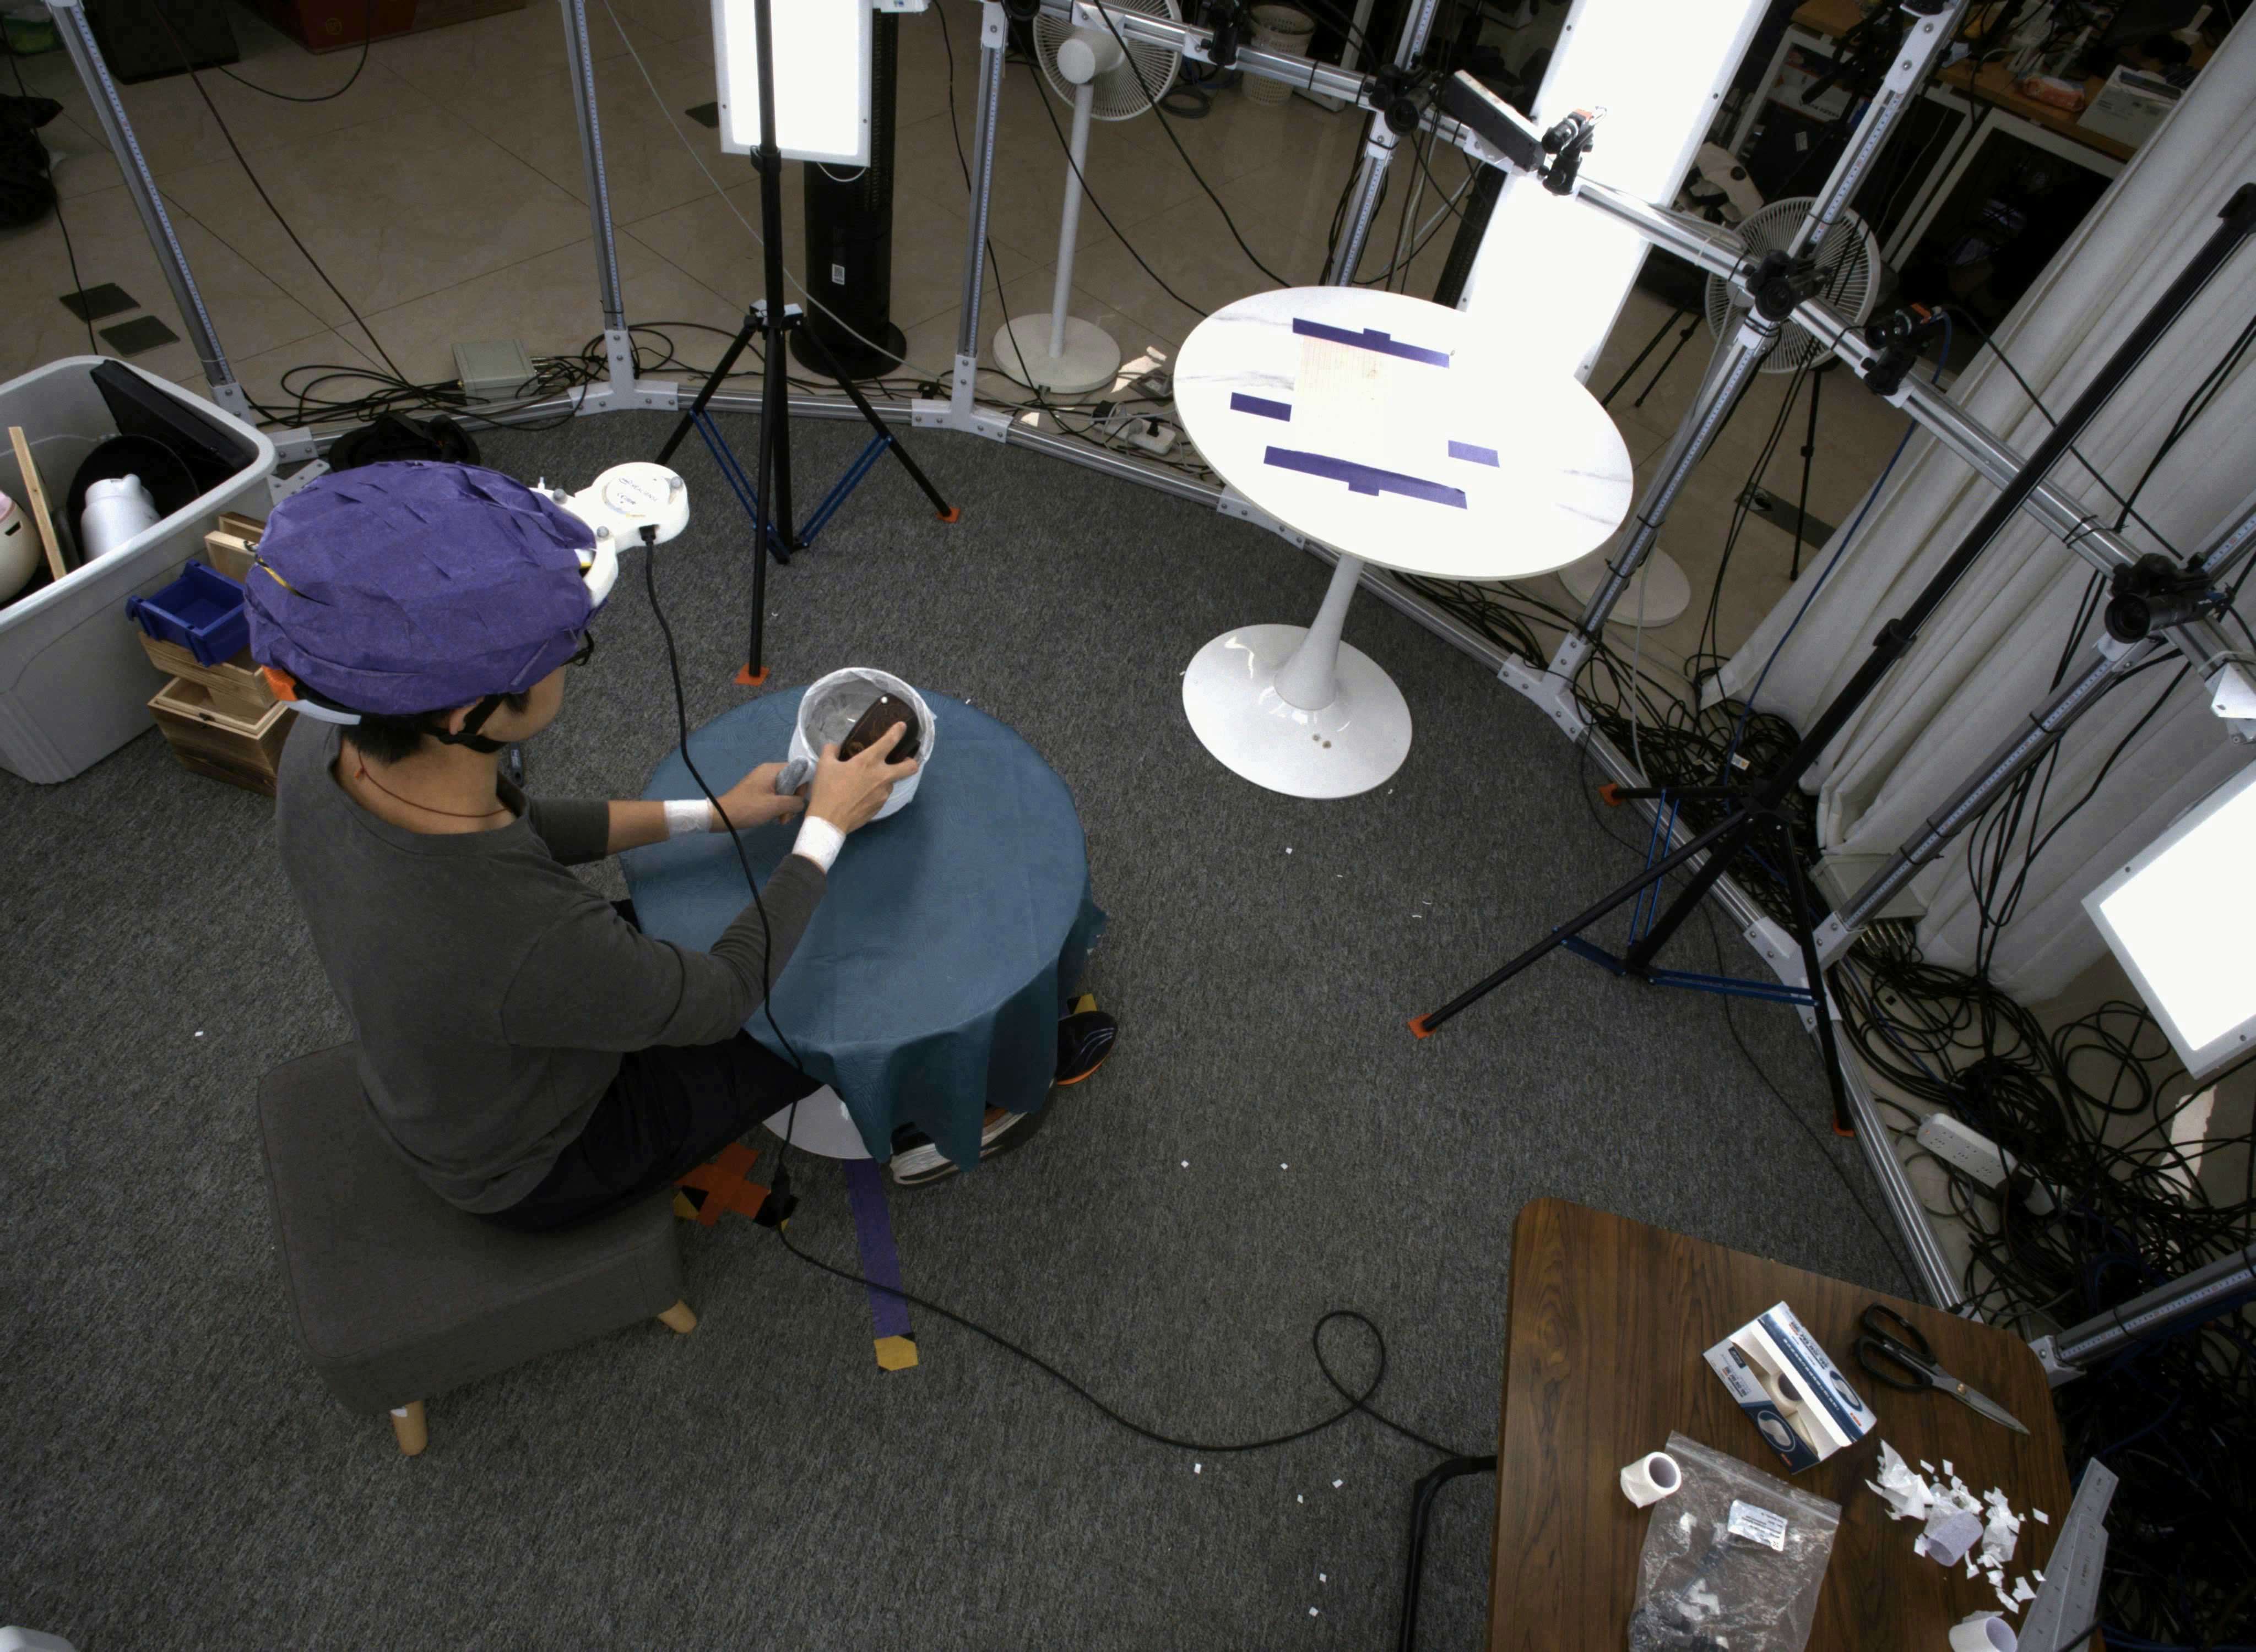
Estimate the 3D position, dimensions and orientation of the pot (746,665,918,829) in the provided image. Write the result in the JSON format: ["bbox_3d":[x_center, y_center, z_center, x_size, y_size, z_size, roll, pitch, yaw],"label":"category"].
[{"bbox_3d":[-0.395,-0.087,1.704,0.177,0.137,0.234,47,57,7],"label":"pot"}]

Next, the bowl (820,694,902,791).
[{"bbox_3d":[-0.328,-0.098,1.626,0.070,0.119,0.117,28,51,-3],"label":"bowl"}]
